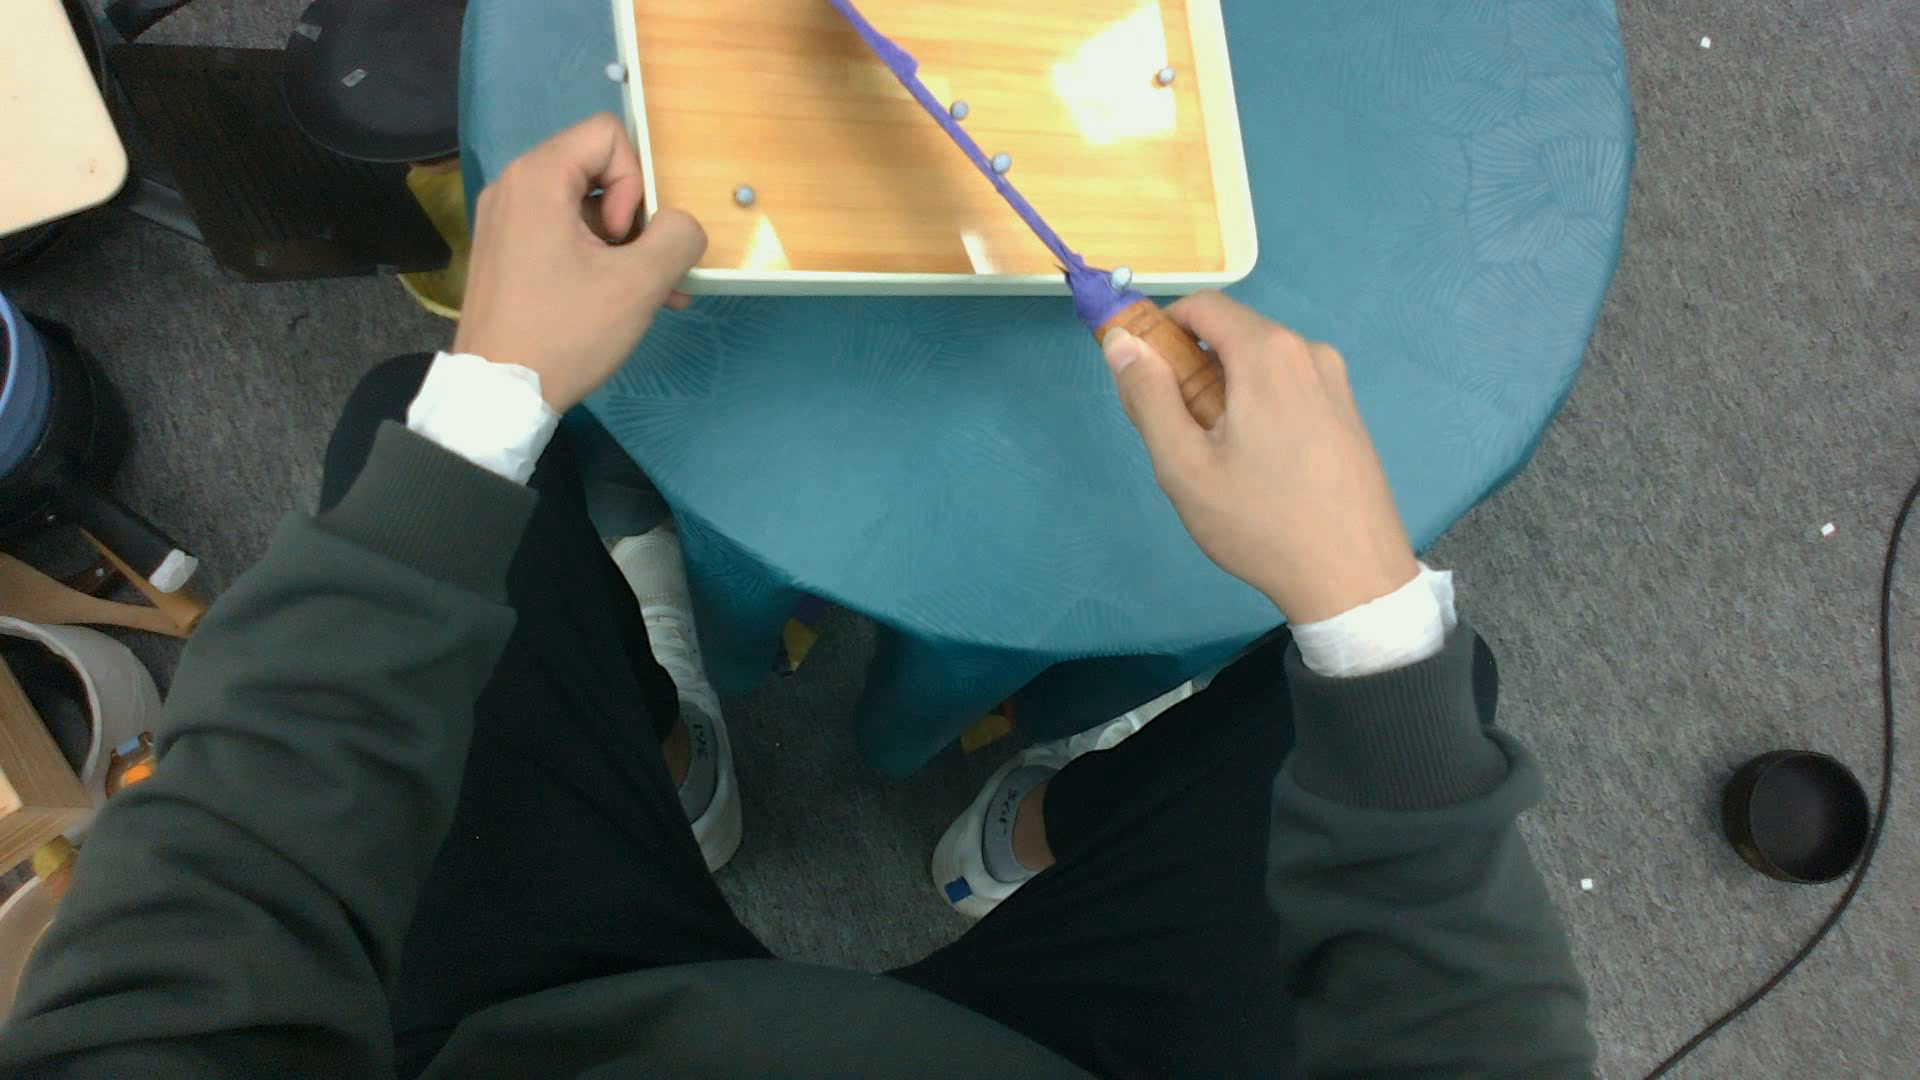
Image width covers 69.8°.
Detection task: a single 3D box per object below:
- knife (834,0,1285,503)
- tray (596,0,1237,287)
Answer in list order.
[{"bbox_3d":[0.023,-0.146,0.565,0.032,0.104,0.315,-40,84,15],"label":"knife"},{"bbox_3d":[-0.012,-0.211,0.637,0.301,0.027,0.192,-5,82,-26],"label":"tray"}]
